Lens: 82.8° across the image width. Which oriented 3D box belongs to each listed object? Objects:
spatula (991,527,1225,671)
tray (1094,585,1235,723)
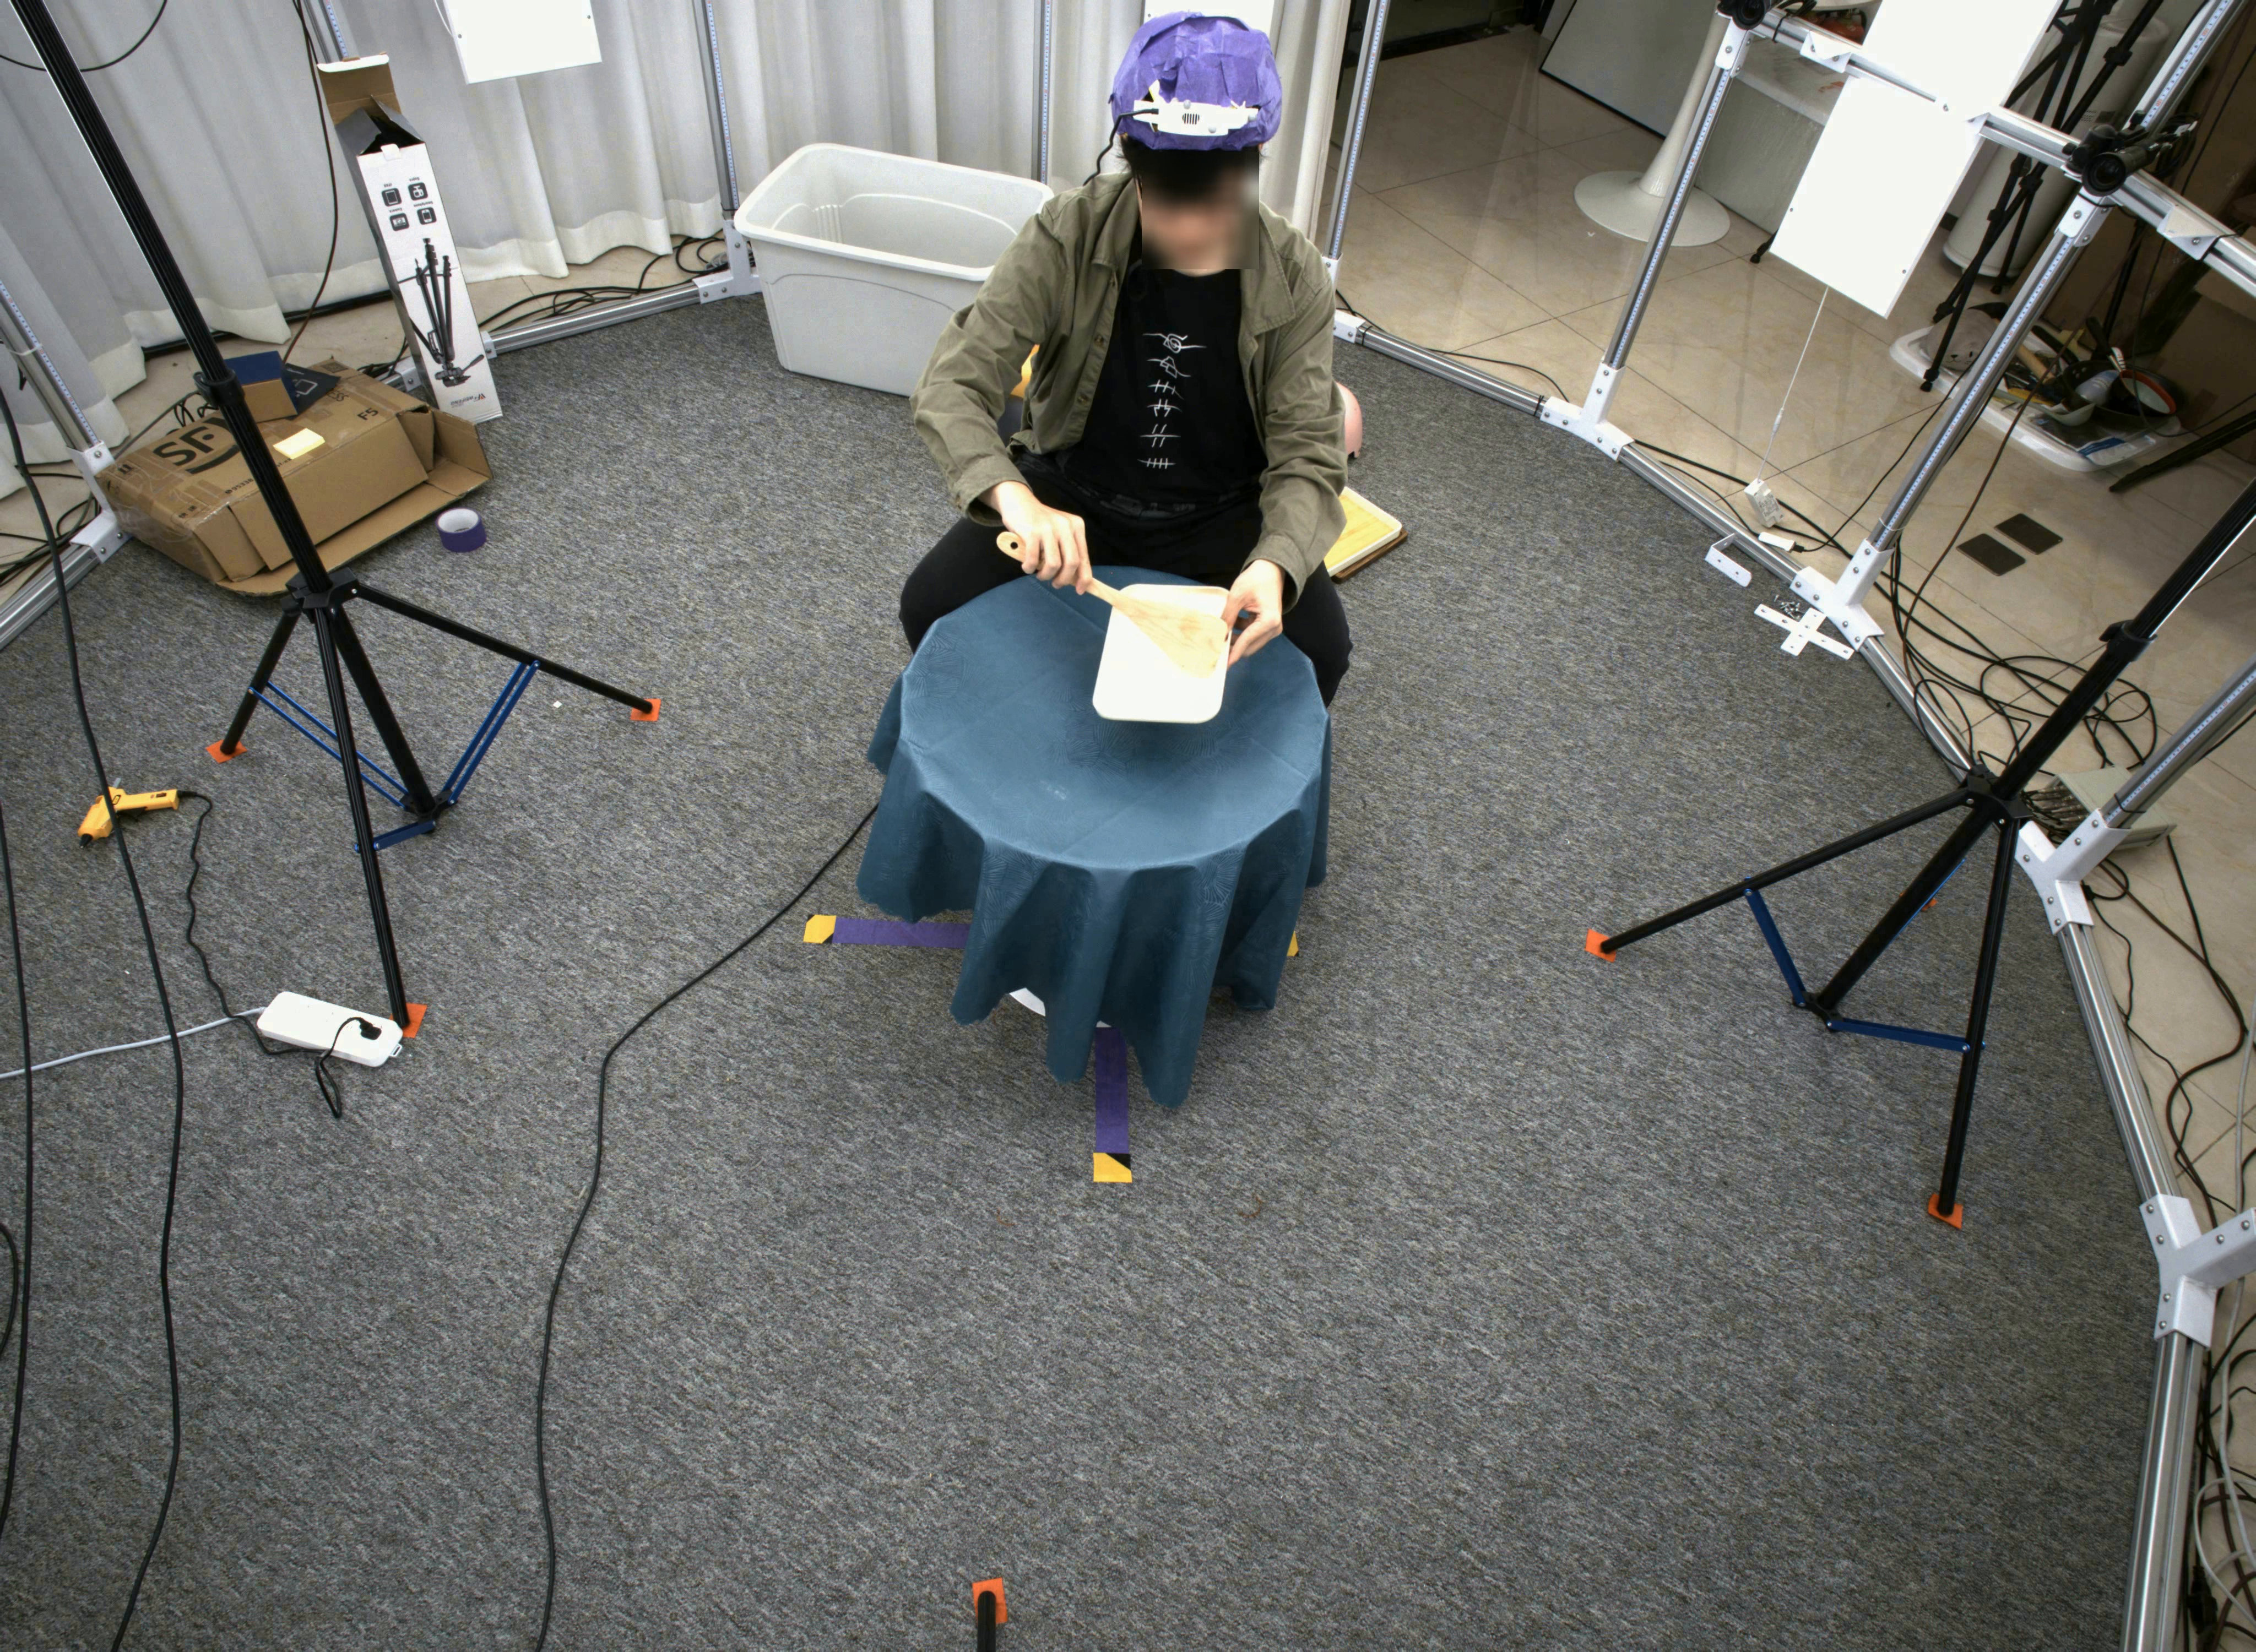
[{"bbox_3d":[-0.024,-0.300,1.643,0.325,0.079,0.017,25,21,-11],"label":"spatula"},{"bbox_3d":[0.051,-0.231,1.718,0.171,0.017,0.245,3,54,9],"label":"tray"}]
